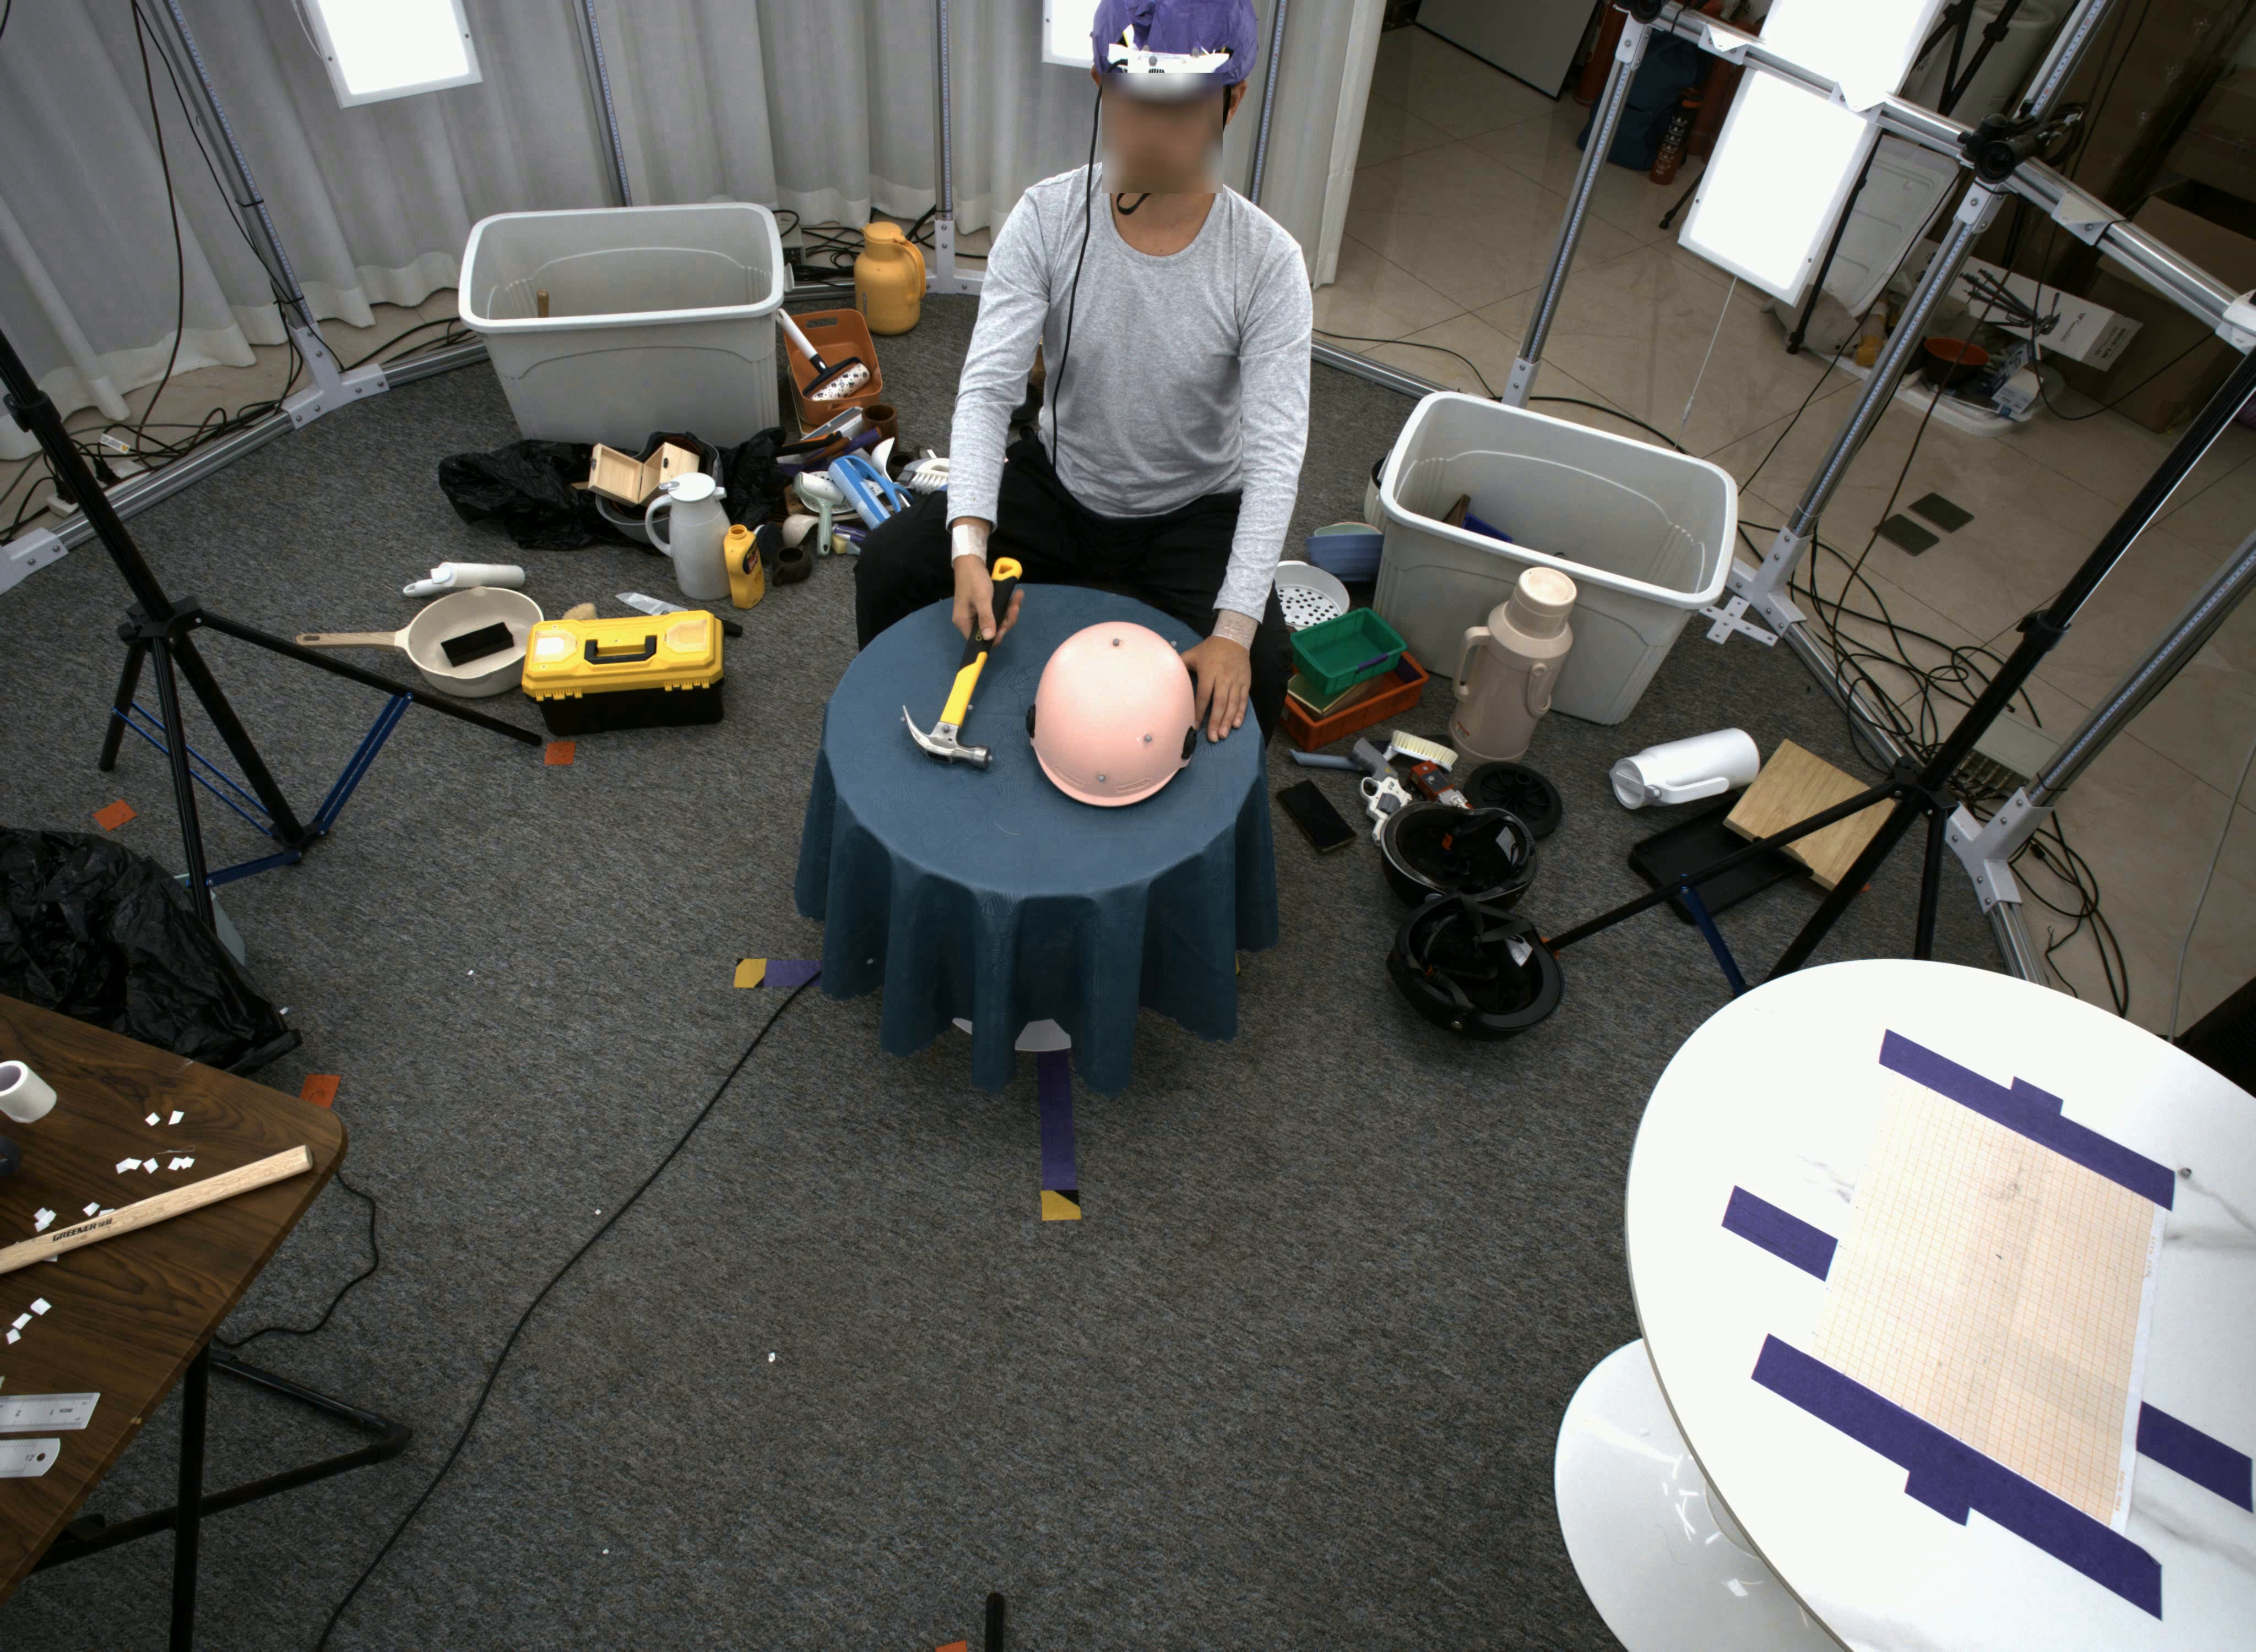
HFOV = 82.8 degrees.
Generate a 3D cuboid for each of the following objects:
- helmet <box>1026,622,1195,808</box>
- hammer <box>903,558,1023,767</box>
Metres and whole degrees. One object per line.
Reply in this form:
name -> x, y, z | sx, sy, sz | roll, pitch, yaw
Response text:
helmet -> -0.019, -0.170, 1.726 | 0.234, 0.155, 0.272 | 8, 53, 2
hammer -> -0.213, -0.240, 1.805 | 0.131, 0.031, 0.345 | 12, 62, 8
